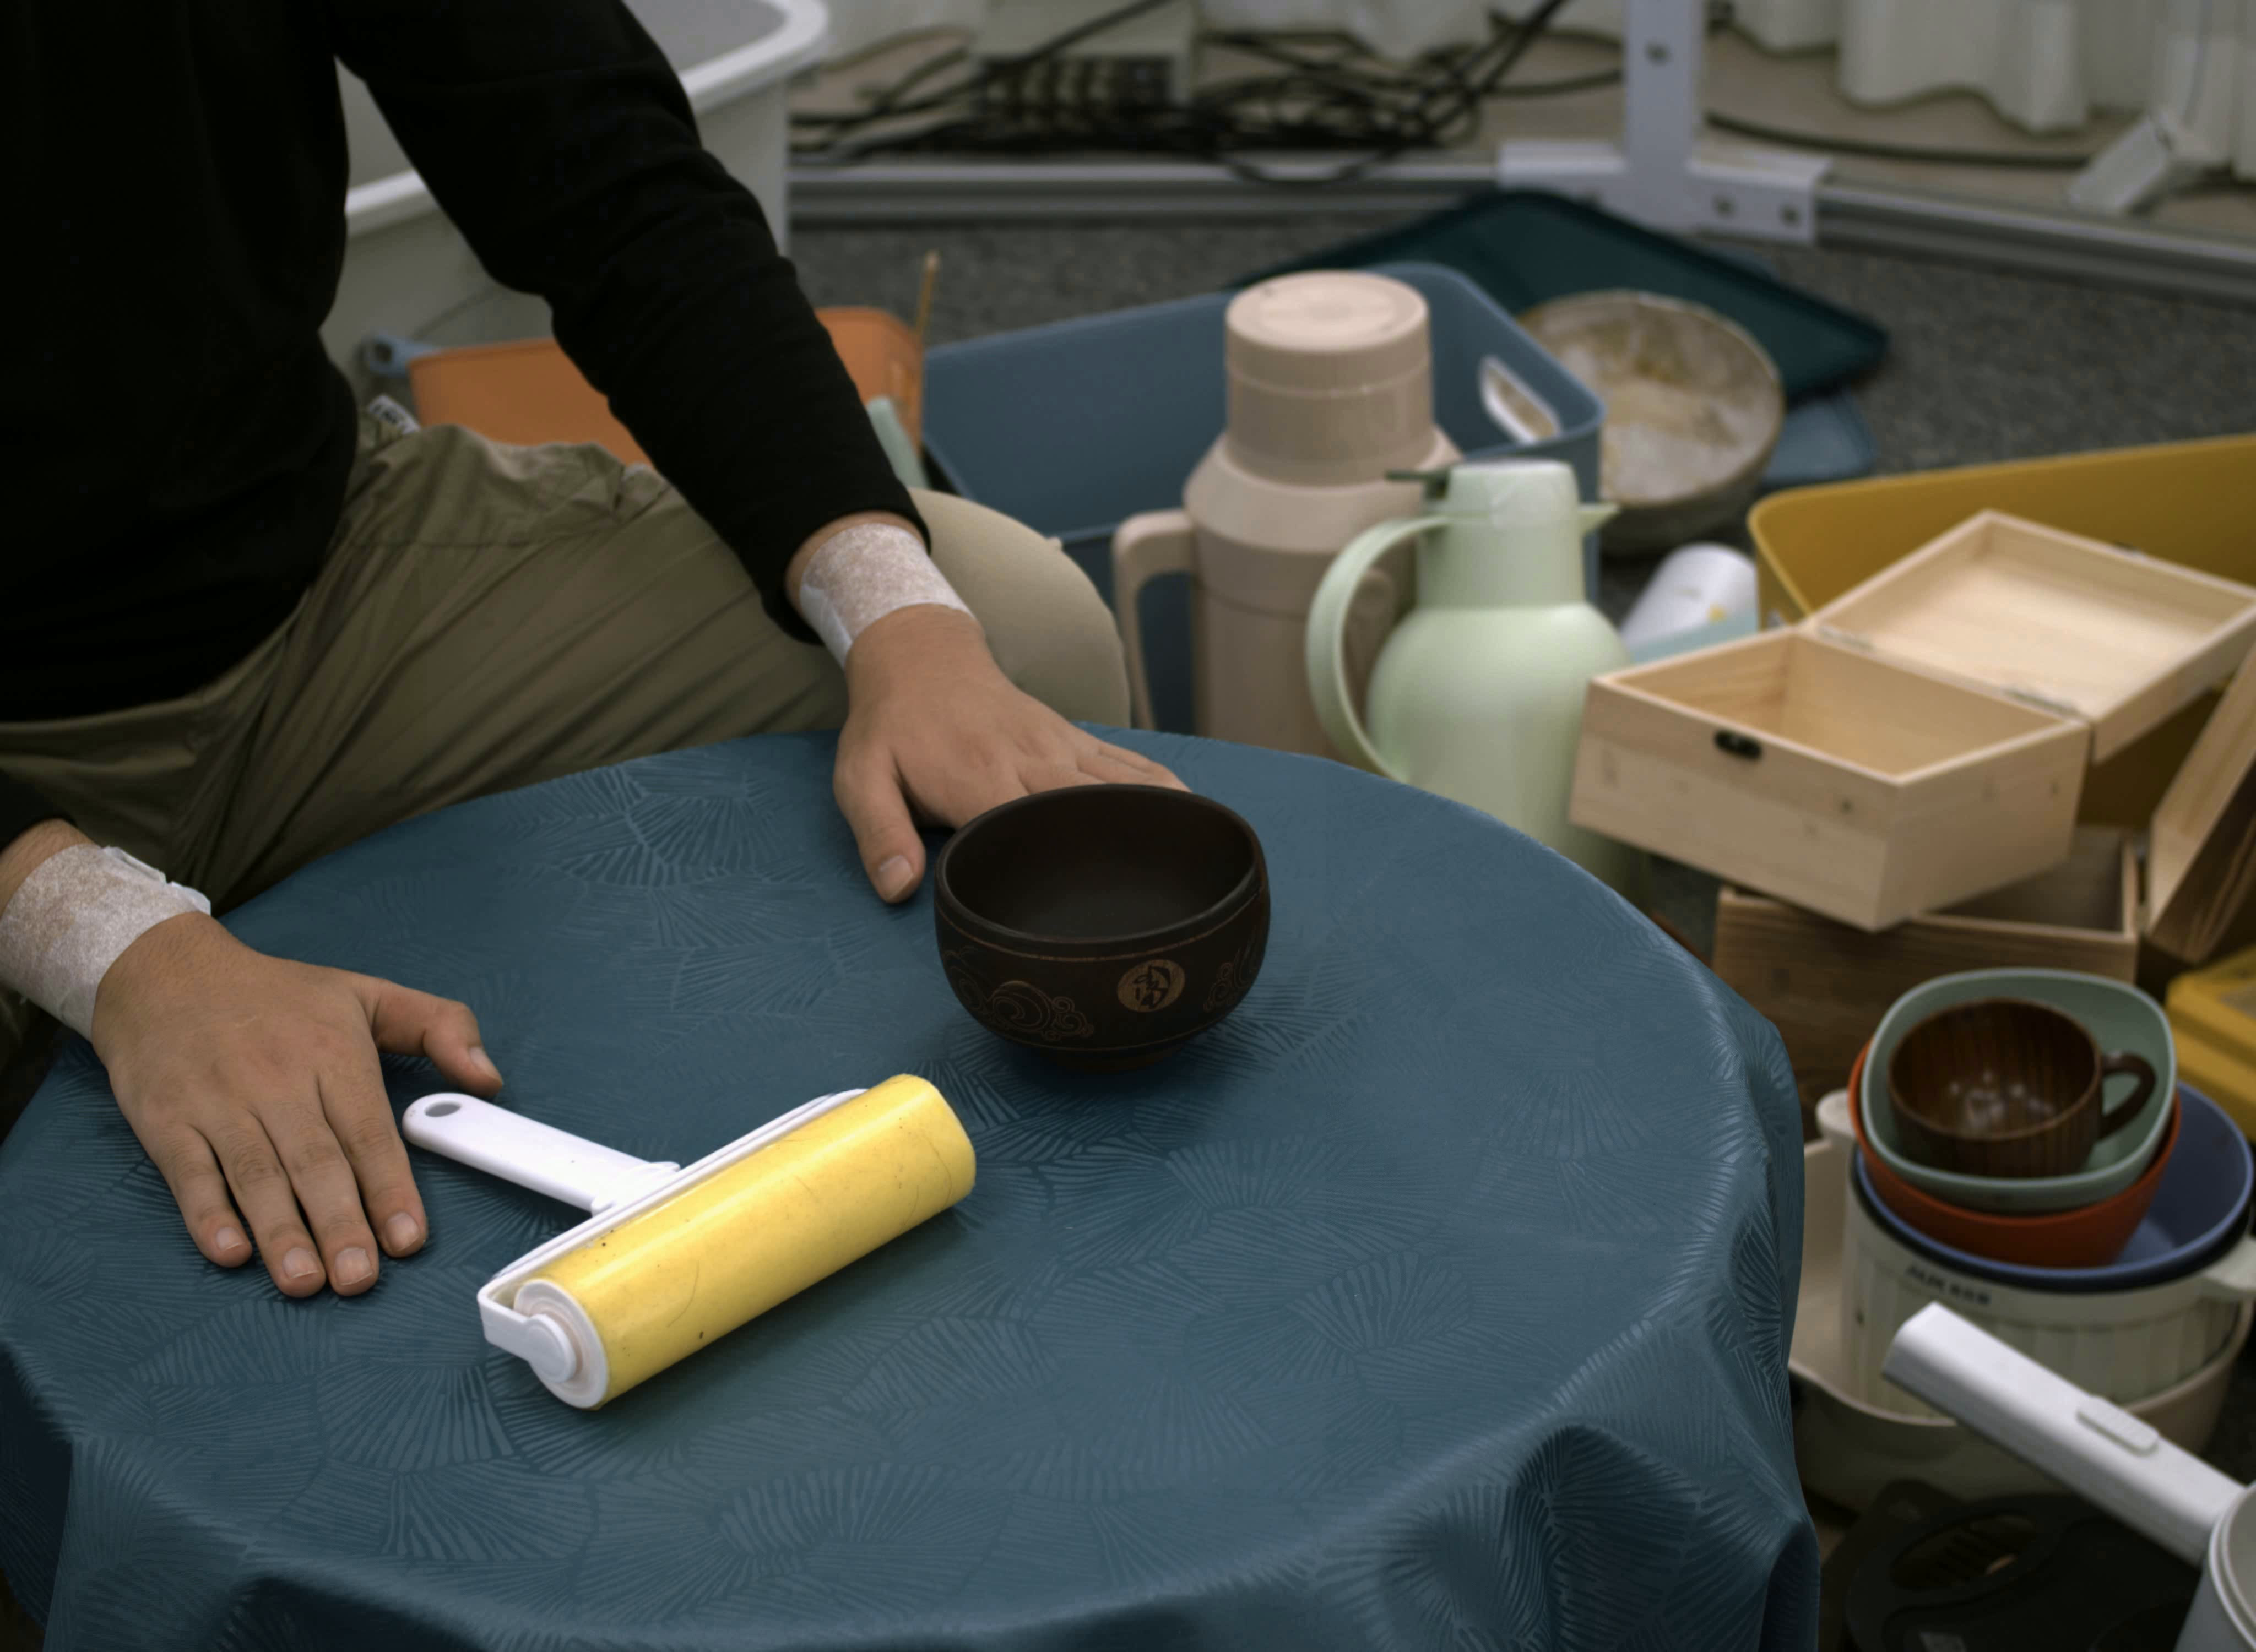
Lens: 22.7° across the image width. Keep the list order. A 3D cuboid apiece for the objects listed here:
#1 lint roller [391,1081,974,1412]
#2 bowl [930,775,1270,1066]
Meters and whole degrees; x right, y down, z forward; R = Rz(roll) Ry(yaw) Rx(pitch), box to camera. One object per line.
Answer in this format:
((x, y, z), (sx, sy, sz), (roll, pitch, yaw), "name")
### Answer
((-0.175, 0.111, 1.843), (0.192, 0.051, 0.176), (25, 38, 35), "lint roller")
((-0.009, 0.039, 1.941), (0.117, 0.069, 0.120), (-1, 27, 1), "bowl")
